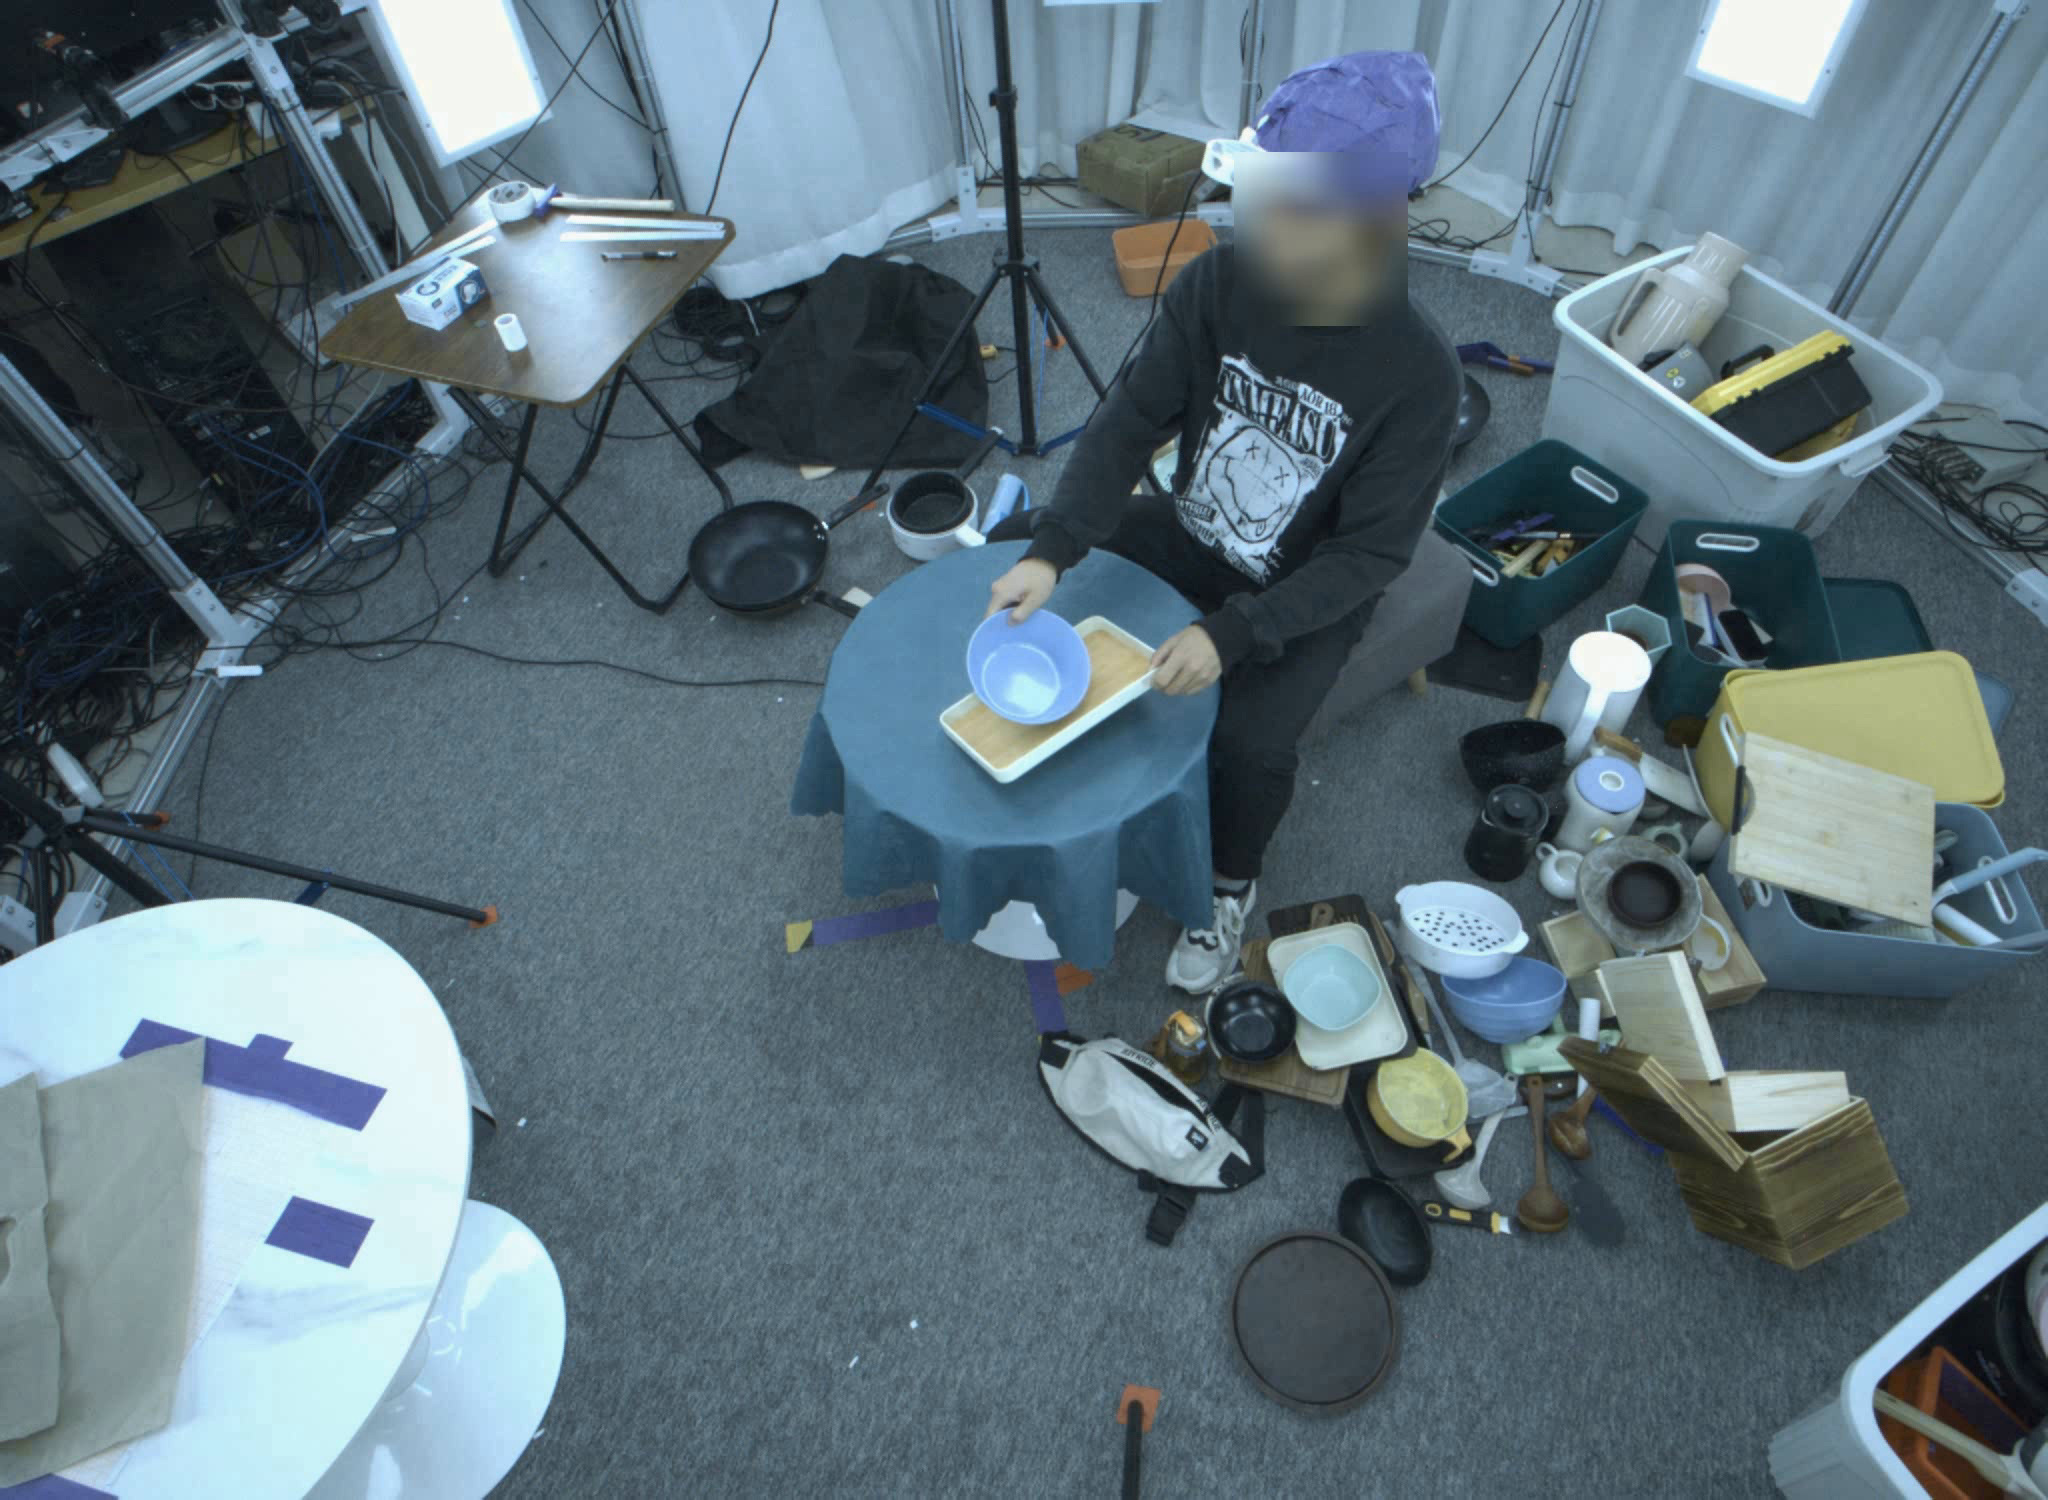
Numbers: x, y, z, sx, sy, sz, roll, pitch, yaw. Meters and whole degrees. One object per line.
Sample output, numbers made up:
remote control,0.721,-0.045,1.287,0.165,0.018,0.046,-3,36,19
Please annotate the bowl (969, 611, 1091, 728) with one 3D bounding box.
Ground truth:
bowl,0.002,-0.105,1.742,0.178,0.070,0.175,5,73,-15

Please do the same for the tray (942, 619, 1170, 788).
tray,0.045,-0.073,1.785,0.302,0.028,0.187,-34,42,-14
